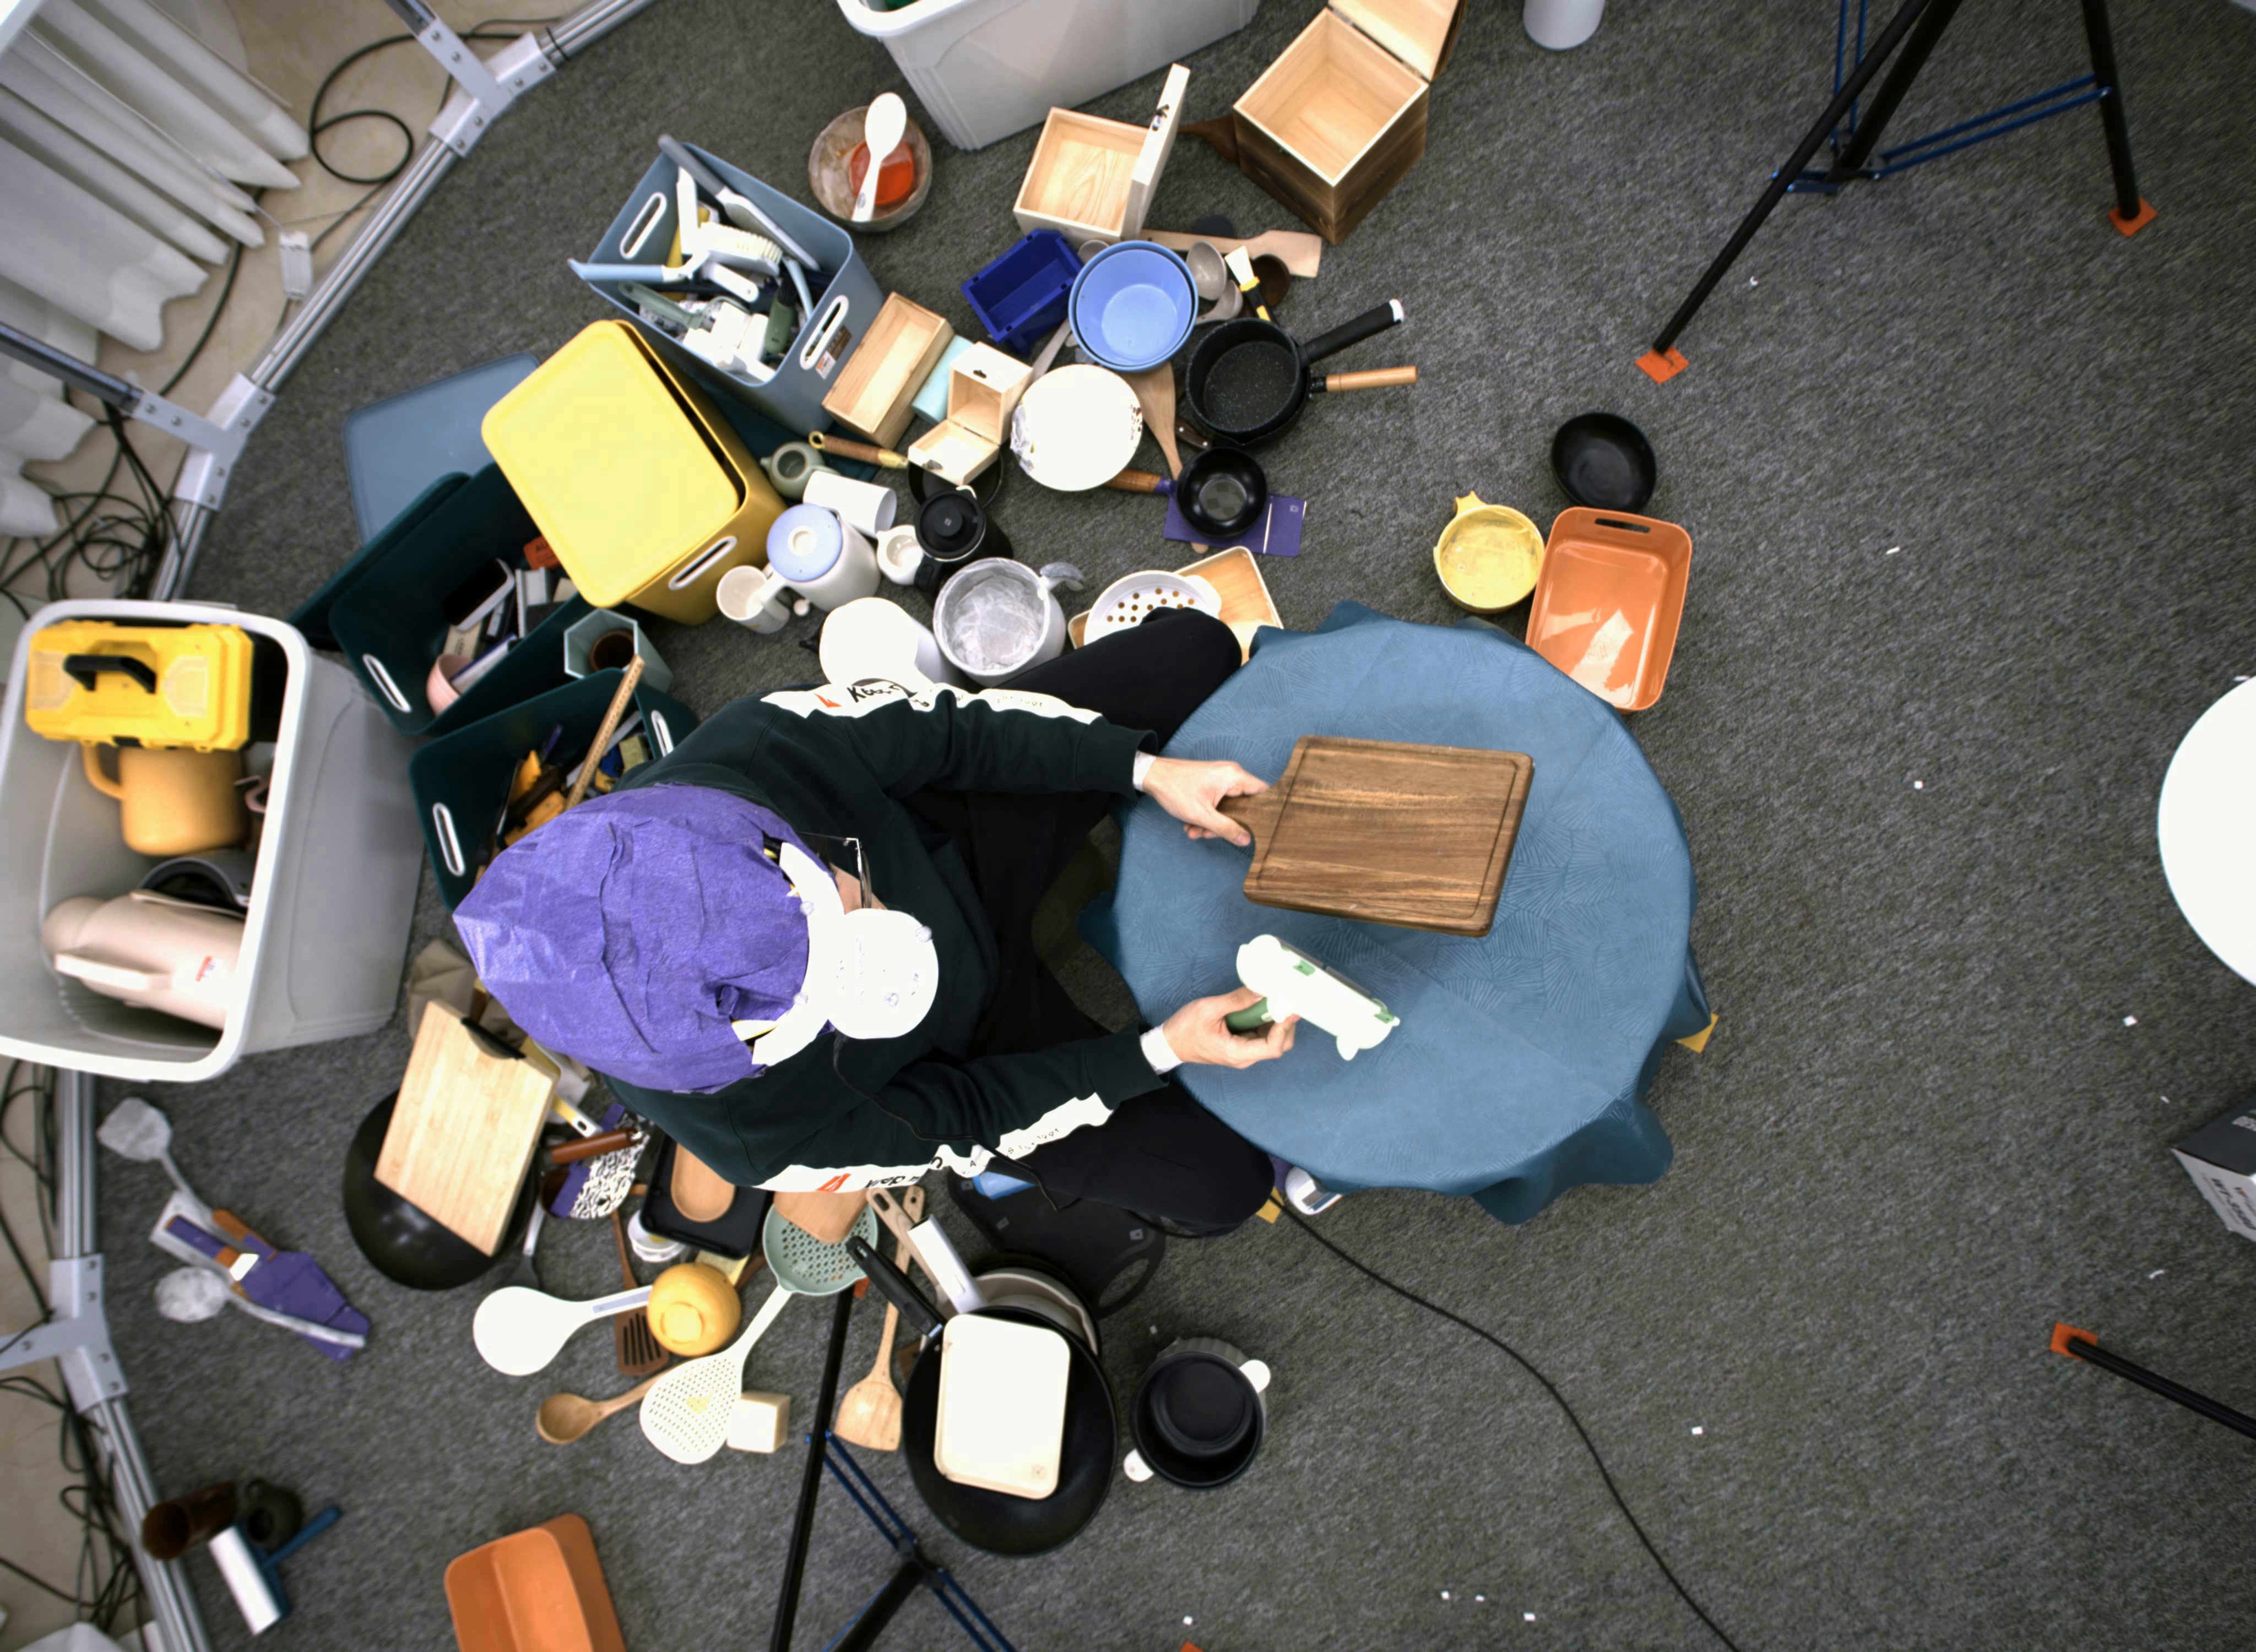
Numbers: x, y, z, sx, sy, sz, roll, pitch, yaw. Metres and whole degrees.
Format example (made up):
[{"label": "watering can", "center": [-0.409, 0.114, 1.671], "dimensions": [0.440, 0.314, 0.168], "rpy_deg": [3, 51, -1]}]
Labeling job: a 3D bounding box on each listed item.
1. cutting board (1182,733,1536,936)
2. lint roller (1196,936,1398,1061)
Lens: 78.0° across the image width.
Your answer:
[{"label": "cutting board", "center": [0.212, -0.004, 1.370], "dimensions": [0.353, 0.023, 0.197], "rpy_deg": [7, 65, 31]}, {"label": "lint roller", "center": [0.144, 0.193, 1.381], "dimensions": [0.186, 0.200, 0.080], "rpy_deg": [-30, 47, 31]}]
